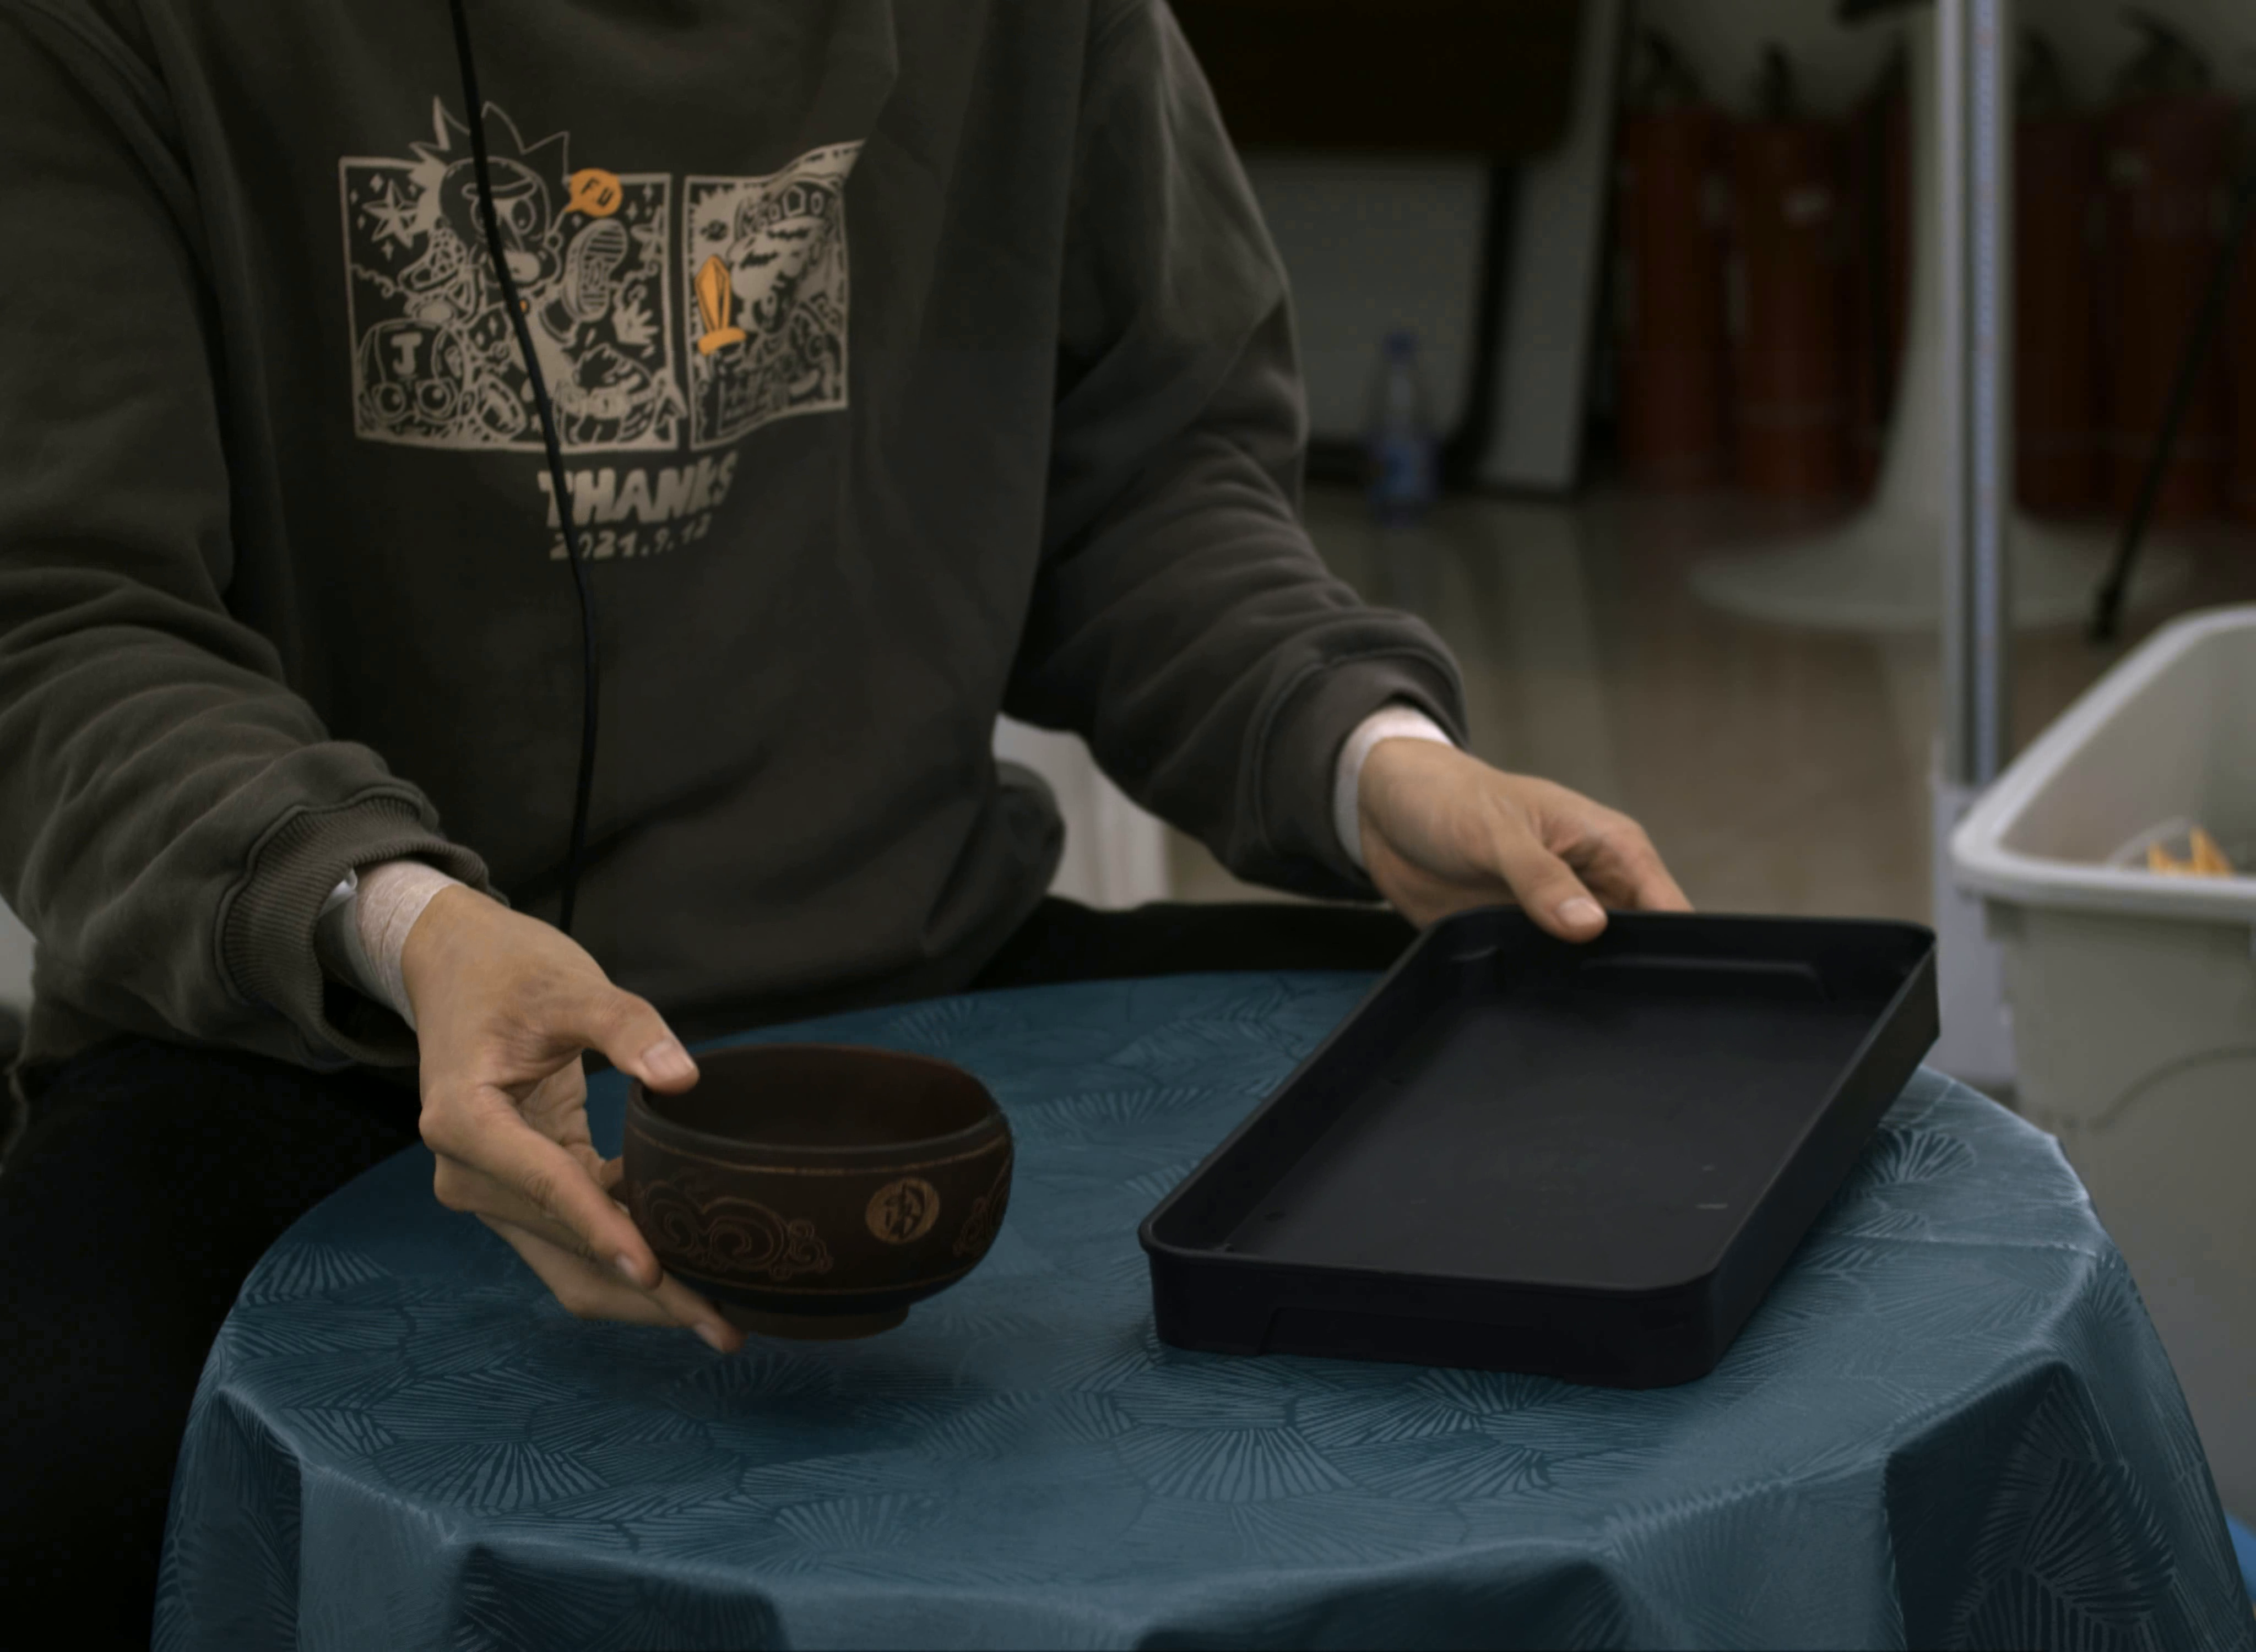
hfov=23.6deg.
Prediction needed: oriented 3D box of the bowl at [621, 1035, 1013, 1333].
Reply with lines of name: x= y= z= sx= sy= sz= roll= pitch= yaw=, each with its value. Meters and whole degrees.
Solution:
bowl: x=-0.092 y=0.109 z=1.601 sx=0.116 sy=0.071 sz=0.118 roll=0 pitch=11 yaw=-1

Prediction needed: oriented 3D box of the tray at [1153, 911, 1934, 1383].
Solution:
tray: x=0.141 y=0.096 z=1.720 sx=0.184 sy=0.037 sz=0.315 roll=0 pitch=19 yaw=22
